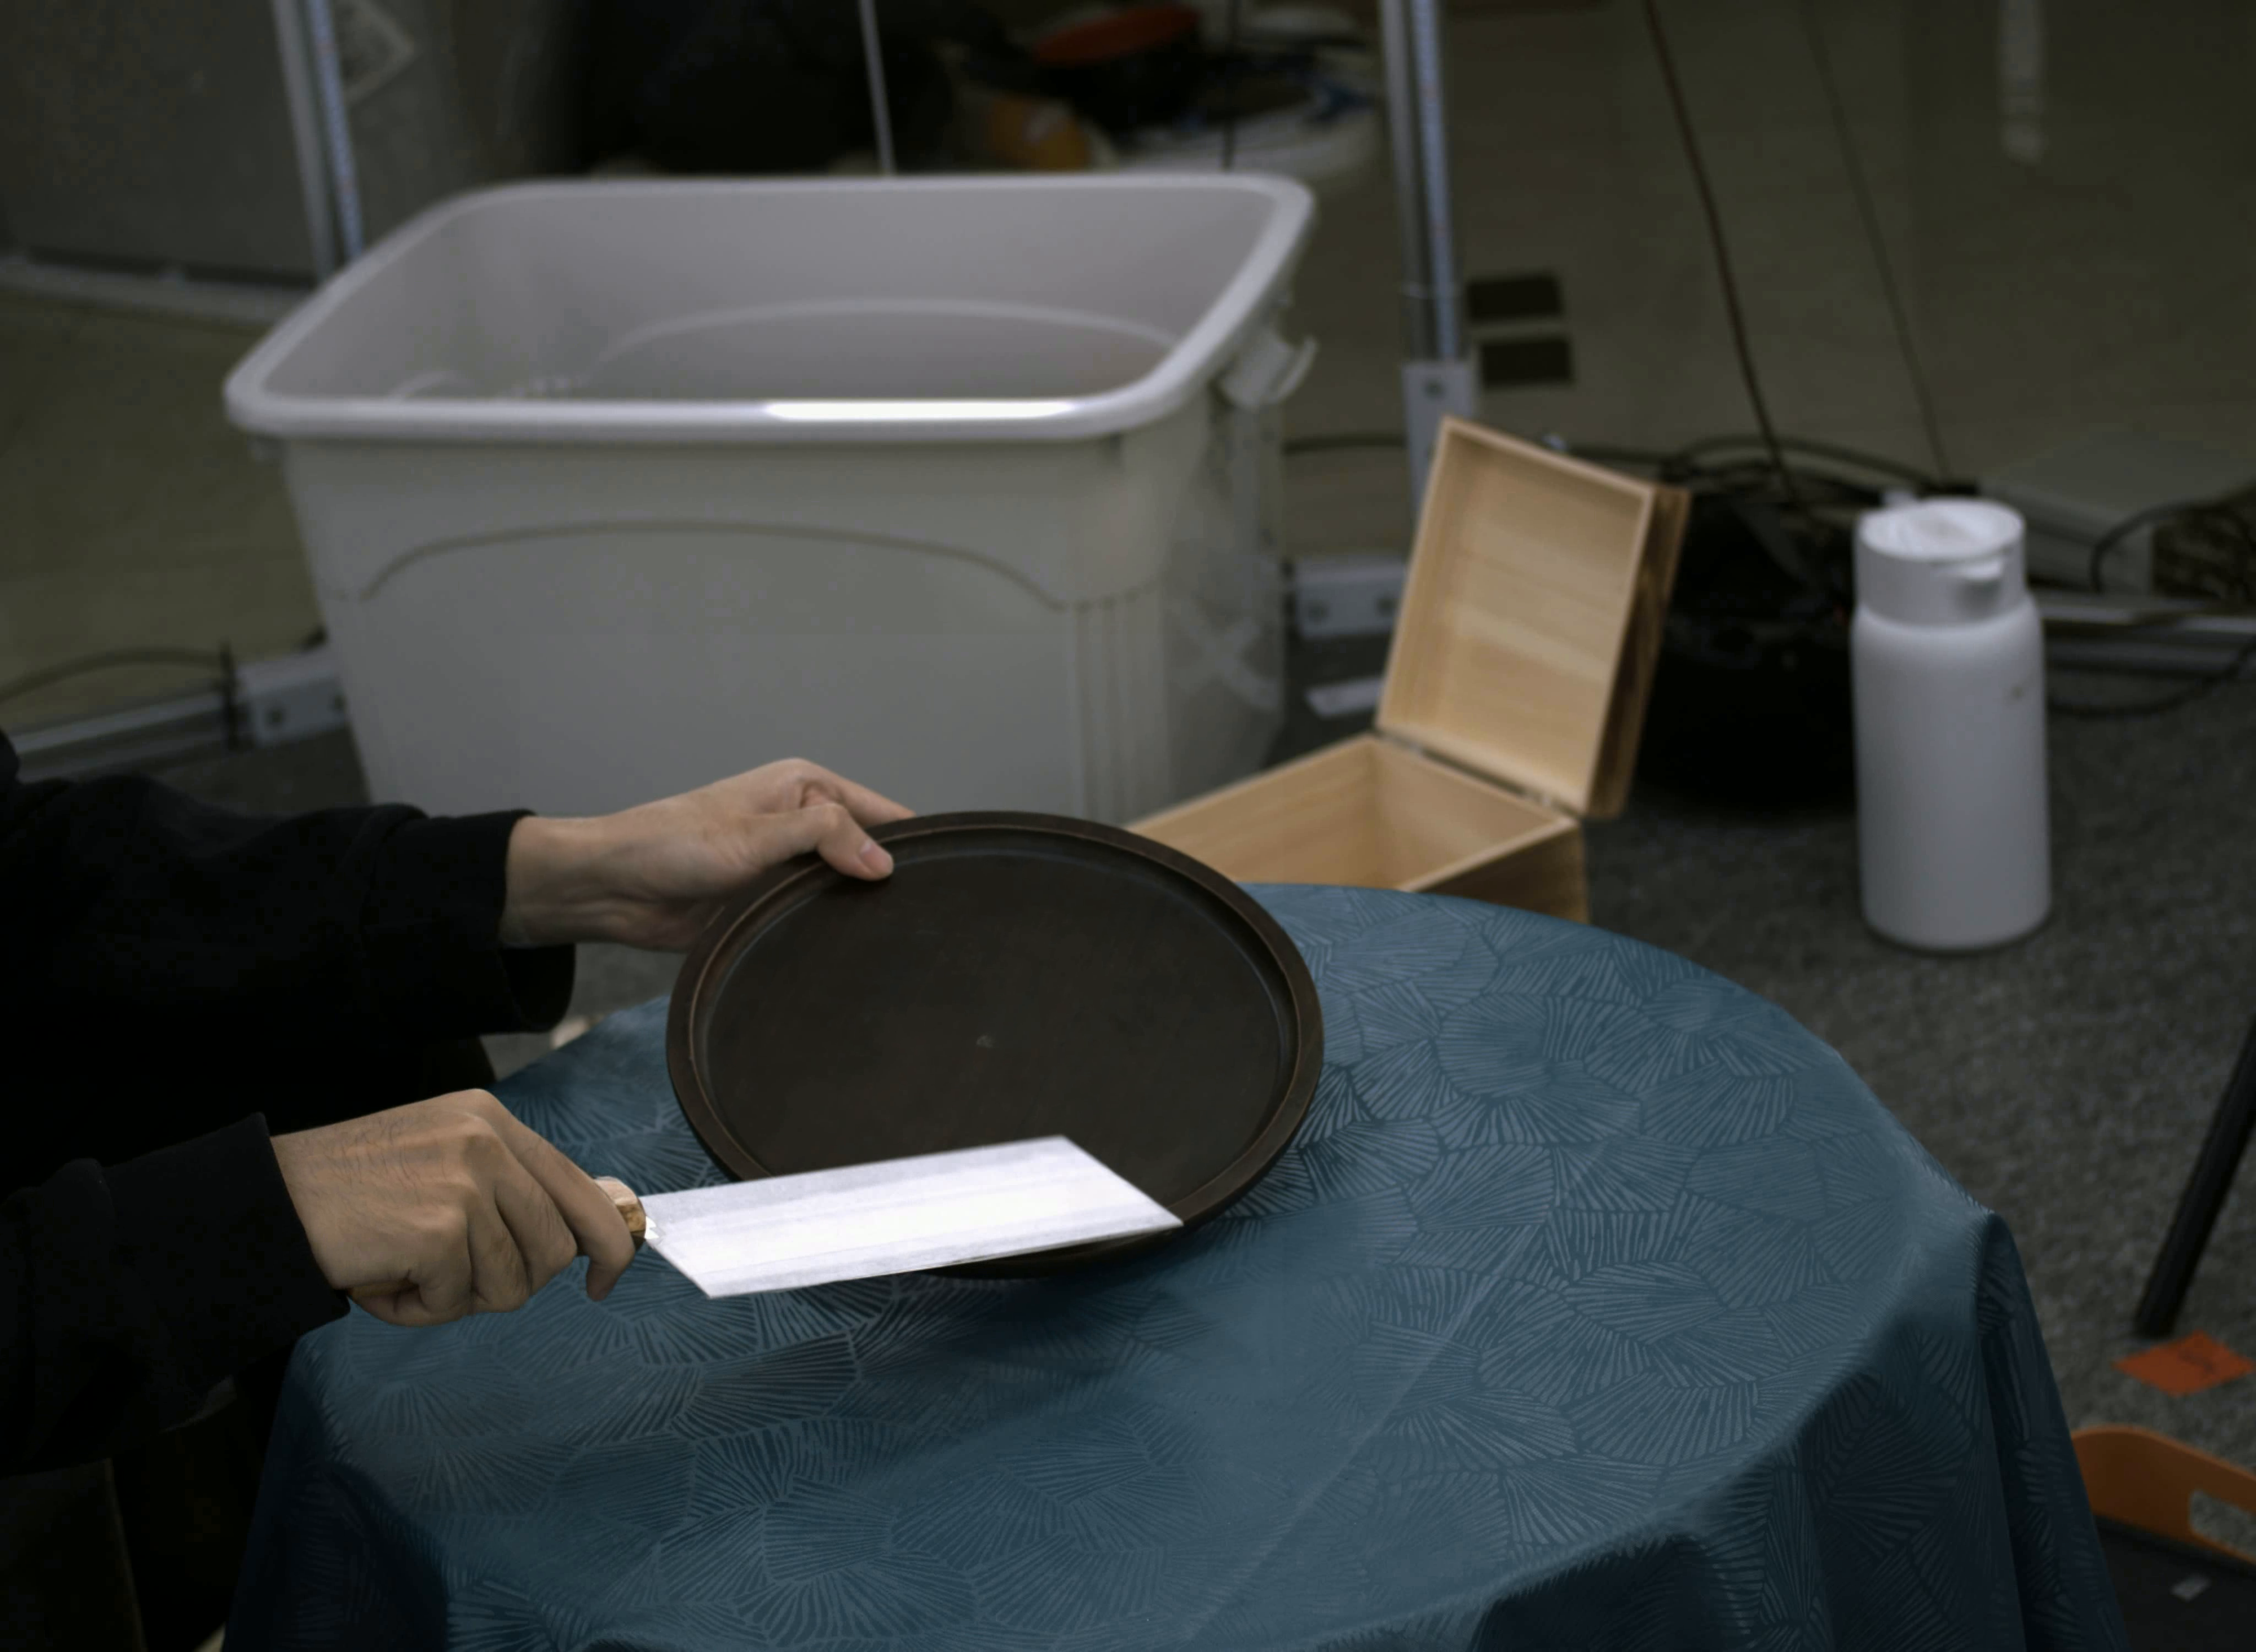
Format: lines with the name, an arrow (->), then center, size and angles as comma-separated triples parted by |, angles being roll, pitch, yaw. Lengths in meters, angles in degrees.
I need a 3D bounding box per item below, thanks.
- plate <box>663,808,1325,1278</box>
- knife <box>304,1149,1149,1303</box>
plate -> -0.051, 0.082, 2.170 | 0.254, 0.029, 0.250 | 1, 40, -1
knife -> -0.134, 0.144, 1.993 | 0.305, 0.021, 0.092 | -5, 20, -30
